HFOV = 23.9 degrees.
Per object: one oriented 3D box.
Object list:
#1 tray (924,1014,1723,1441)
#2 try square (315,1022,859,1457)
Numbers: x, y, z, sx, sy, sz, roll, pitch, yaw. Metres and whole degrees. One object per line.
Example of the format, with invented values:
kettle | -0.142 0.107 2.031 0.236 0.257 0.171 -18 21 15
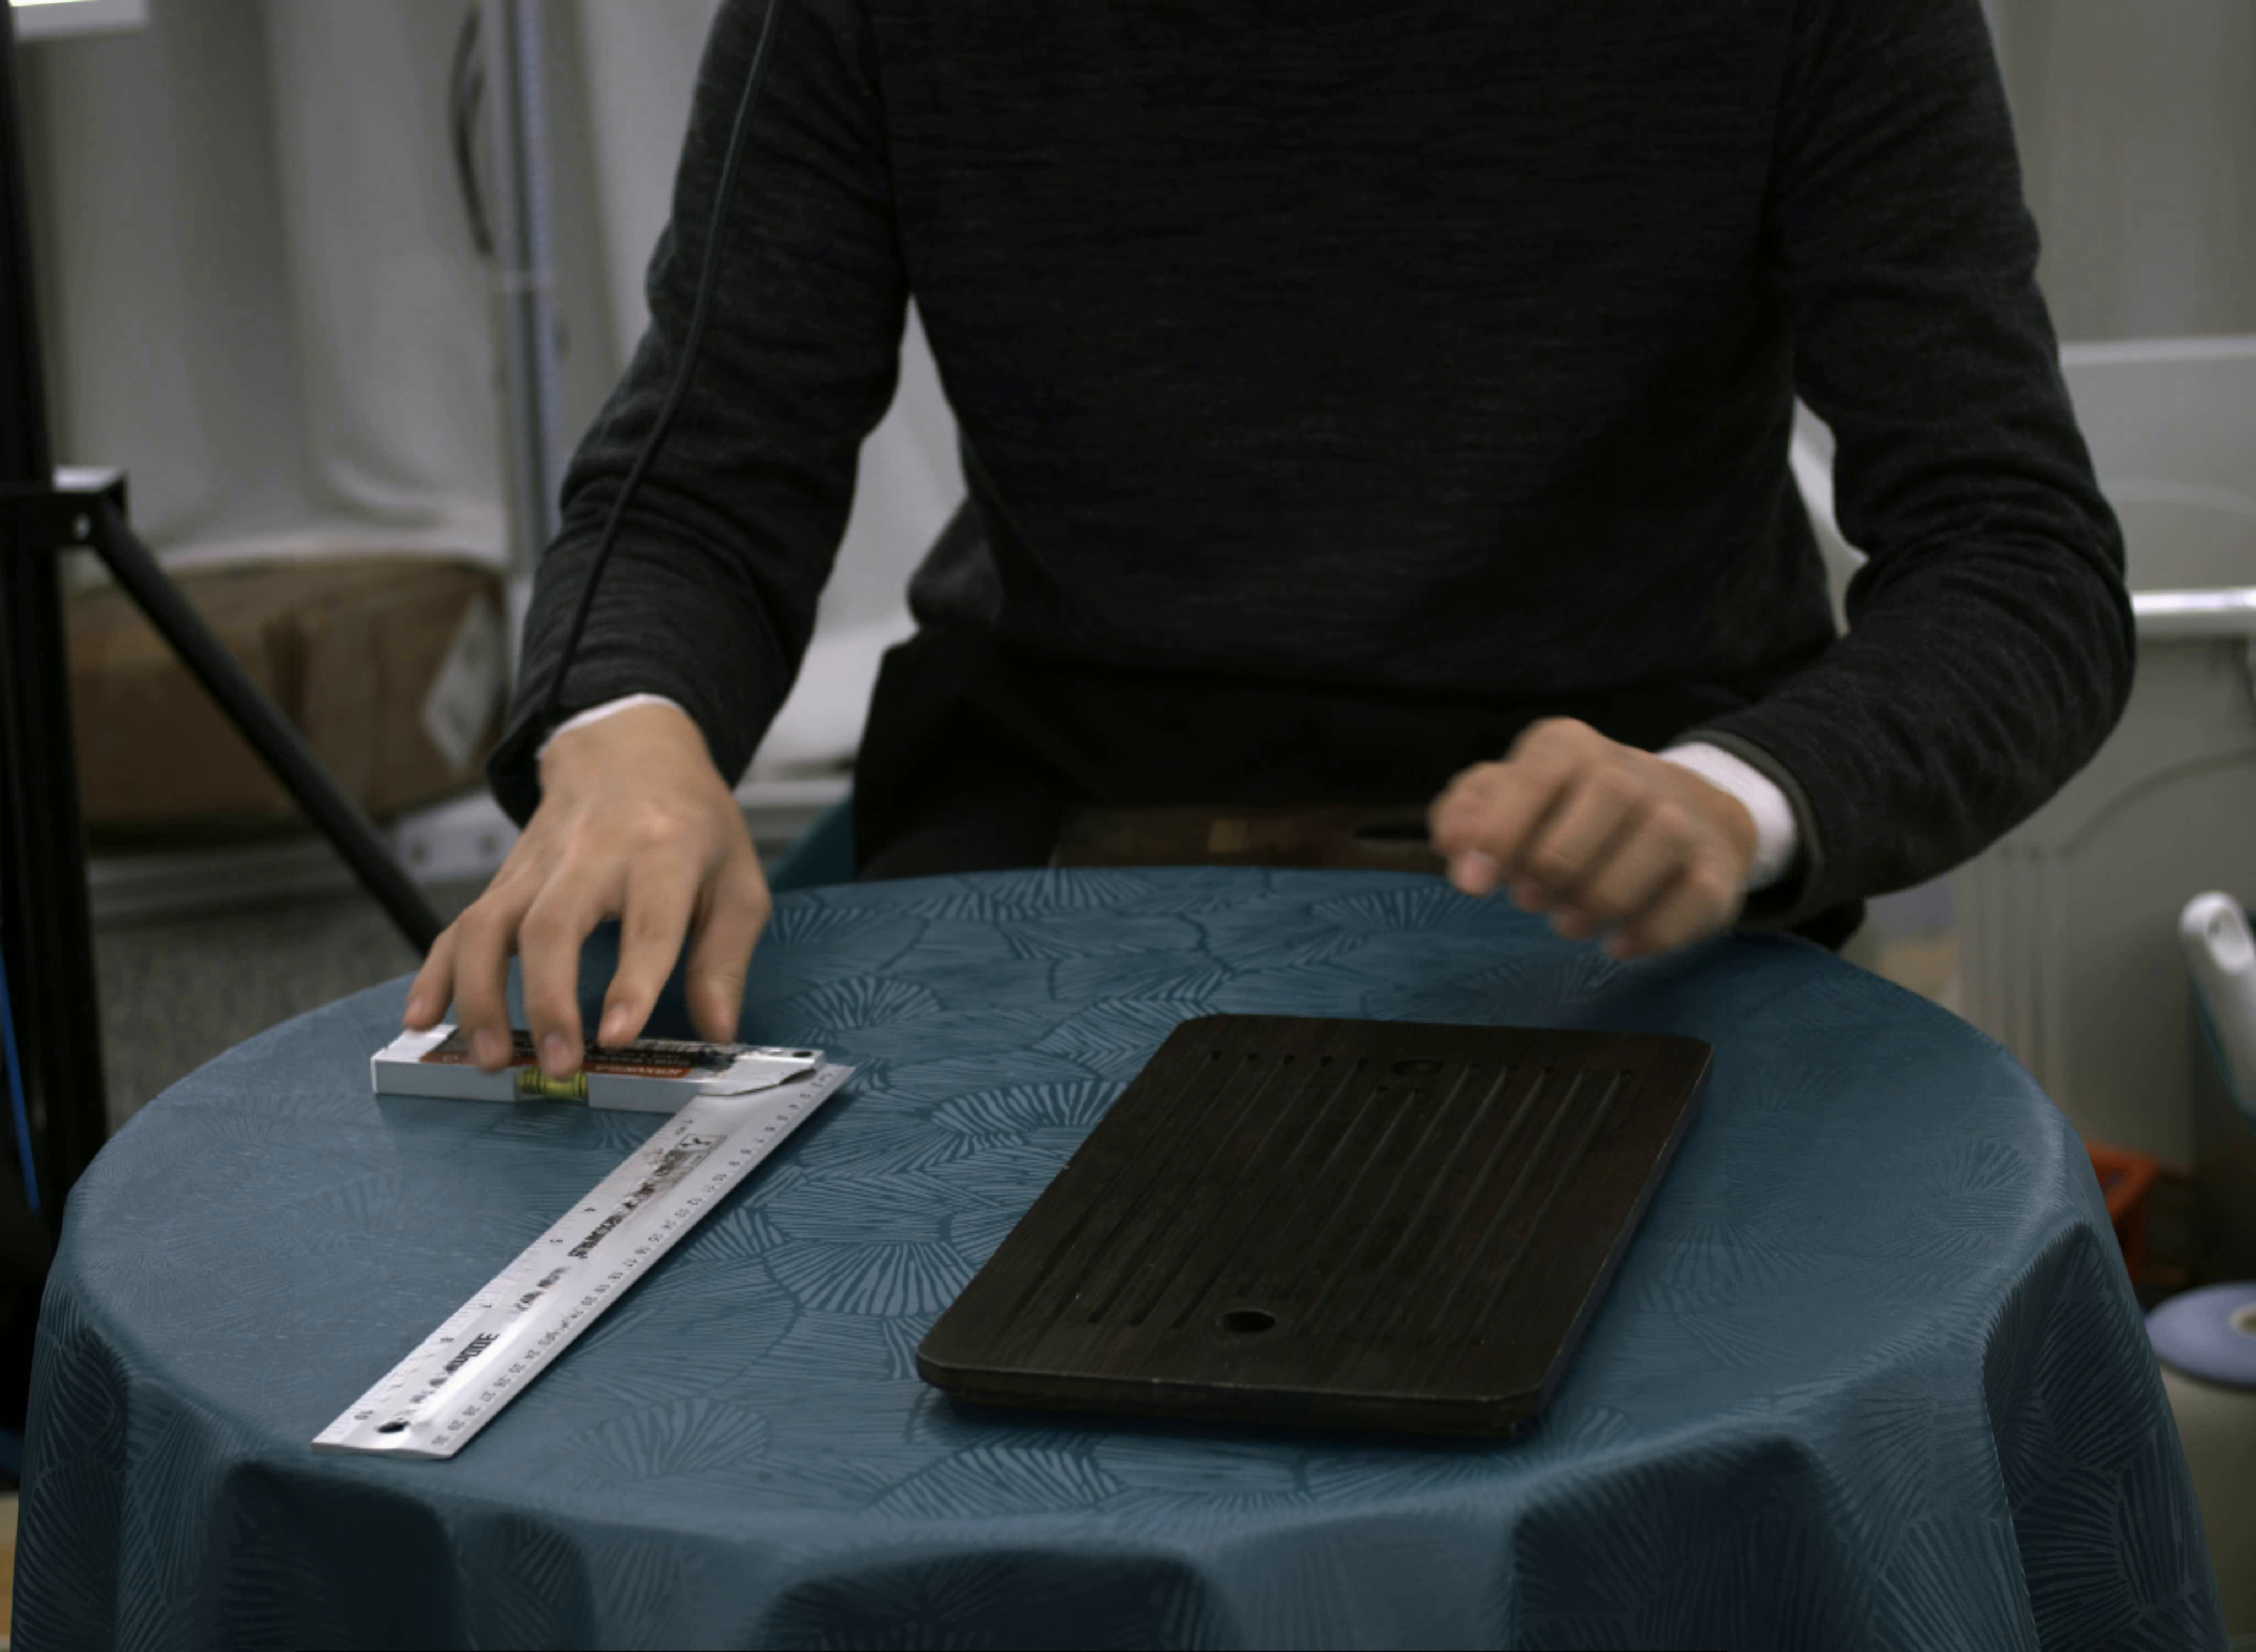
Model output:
tray | 0.064 0.111 1.504 0.171 0.018 0.303 2 16 16
try square | -0.200 0.115 1.548 0.154 0.016 0.310 3 17 18
